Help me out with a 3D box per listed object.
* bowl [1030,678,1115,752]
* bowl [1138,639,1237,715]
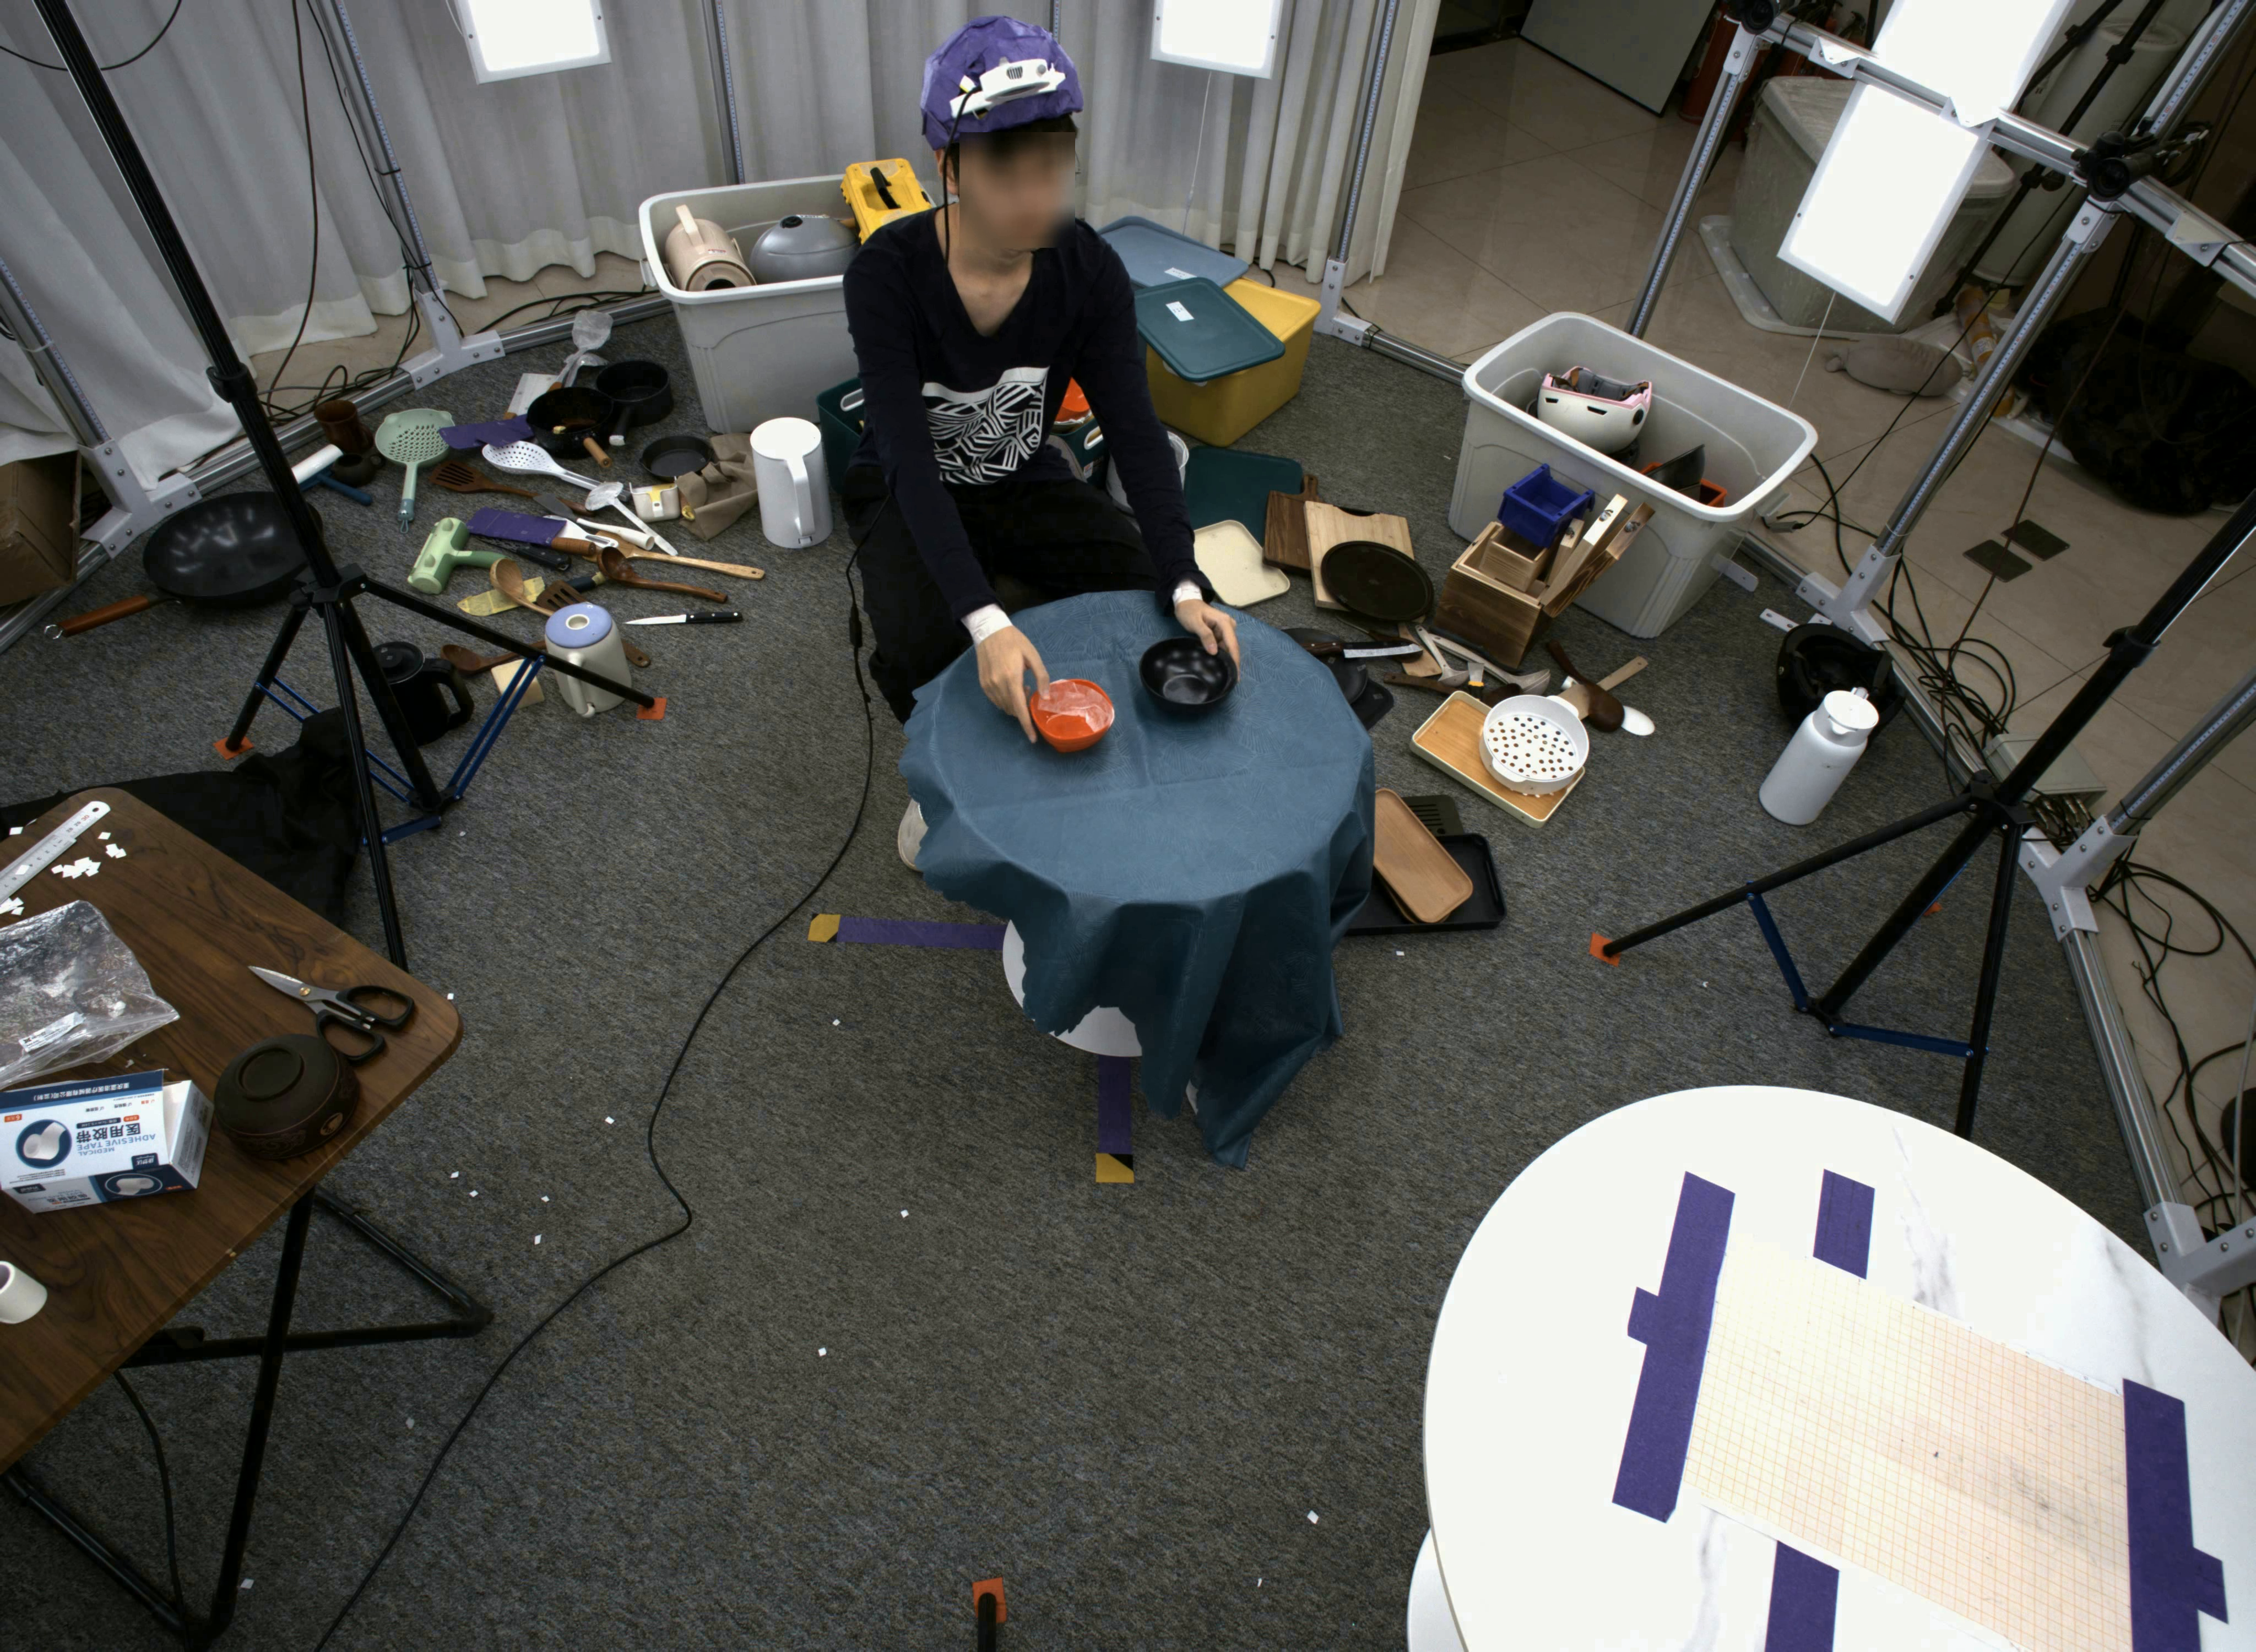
[{"bbox_3d":[-0.077,-0.145,1.754,0.119,0.050,0.122,2,51,-2],"label":"bowl"},{"bbox_3d":[0.083,-0.203,1.821,0.140,0.048,0.143,1,46,-1],"label":"bowl"}]
